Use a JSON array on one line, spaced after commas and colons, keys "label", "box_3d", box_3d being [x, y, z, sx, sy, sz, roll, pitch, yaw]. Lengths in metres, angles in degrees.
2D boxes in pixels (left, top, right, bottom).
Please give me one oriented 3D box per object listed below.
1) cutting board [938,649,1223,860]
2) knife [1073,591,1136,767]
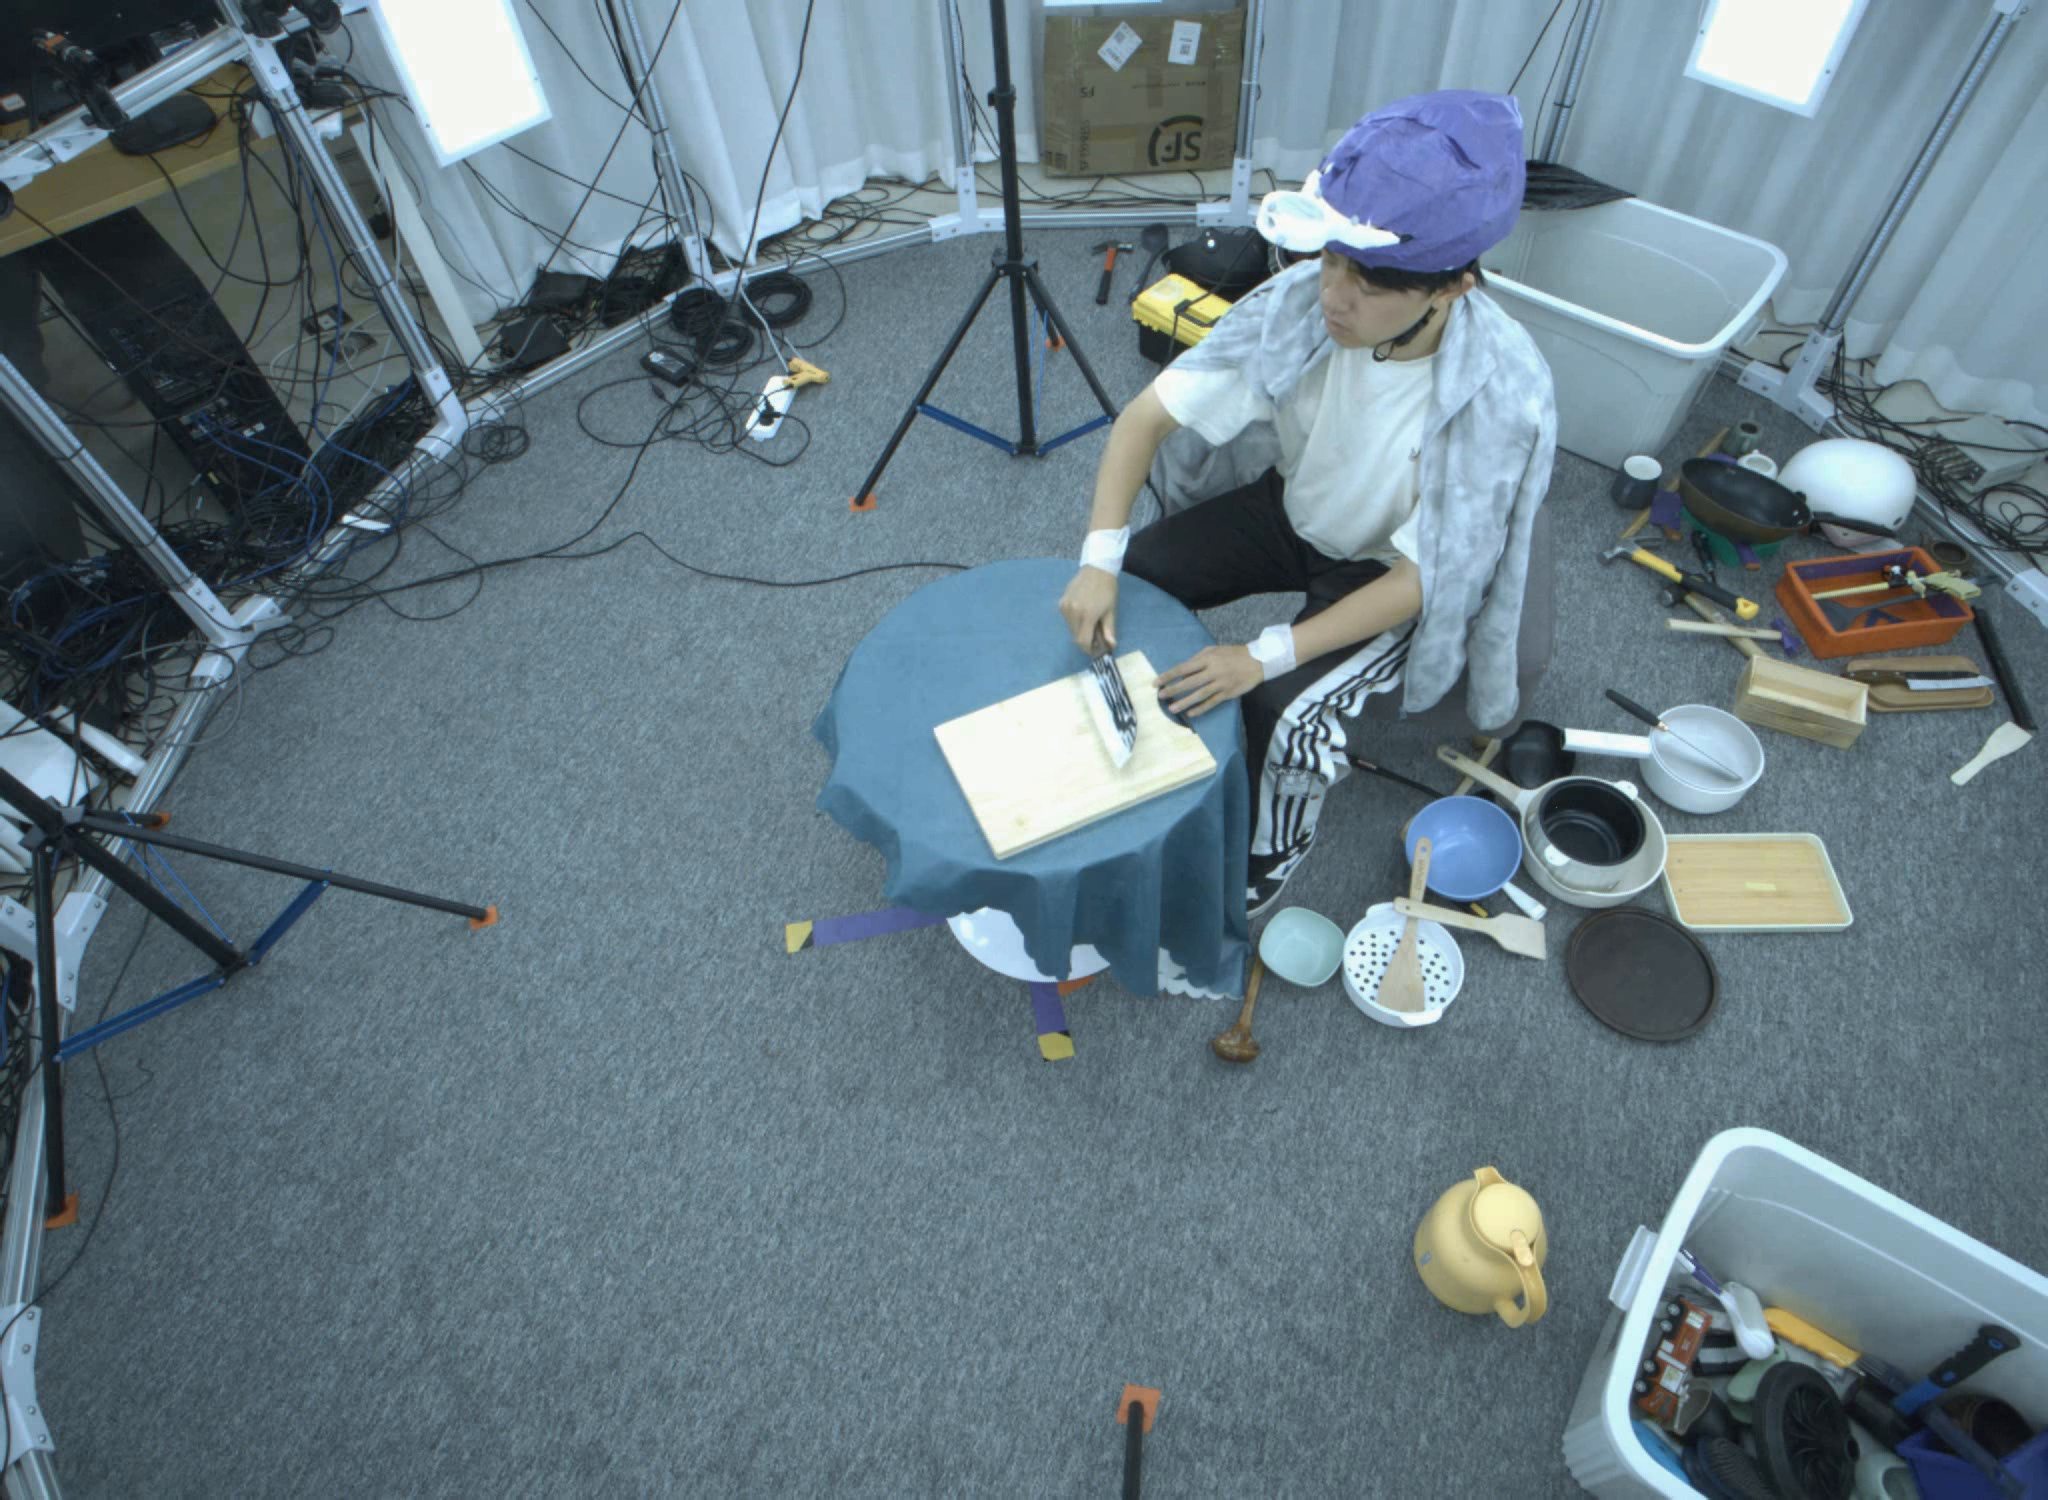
[{"label": "cutting board", "box_3d": [0.075, -0.002, 1.779, 0.351, 0.024, 0.246, -22, 57, -13]}, {"label": "knife", "box_3d": [0.110, -0.107, 1.781, 0.024, 0.067, 0.295, 18, 44, -41]}]
